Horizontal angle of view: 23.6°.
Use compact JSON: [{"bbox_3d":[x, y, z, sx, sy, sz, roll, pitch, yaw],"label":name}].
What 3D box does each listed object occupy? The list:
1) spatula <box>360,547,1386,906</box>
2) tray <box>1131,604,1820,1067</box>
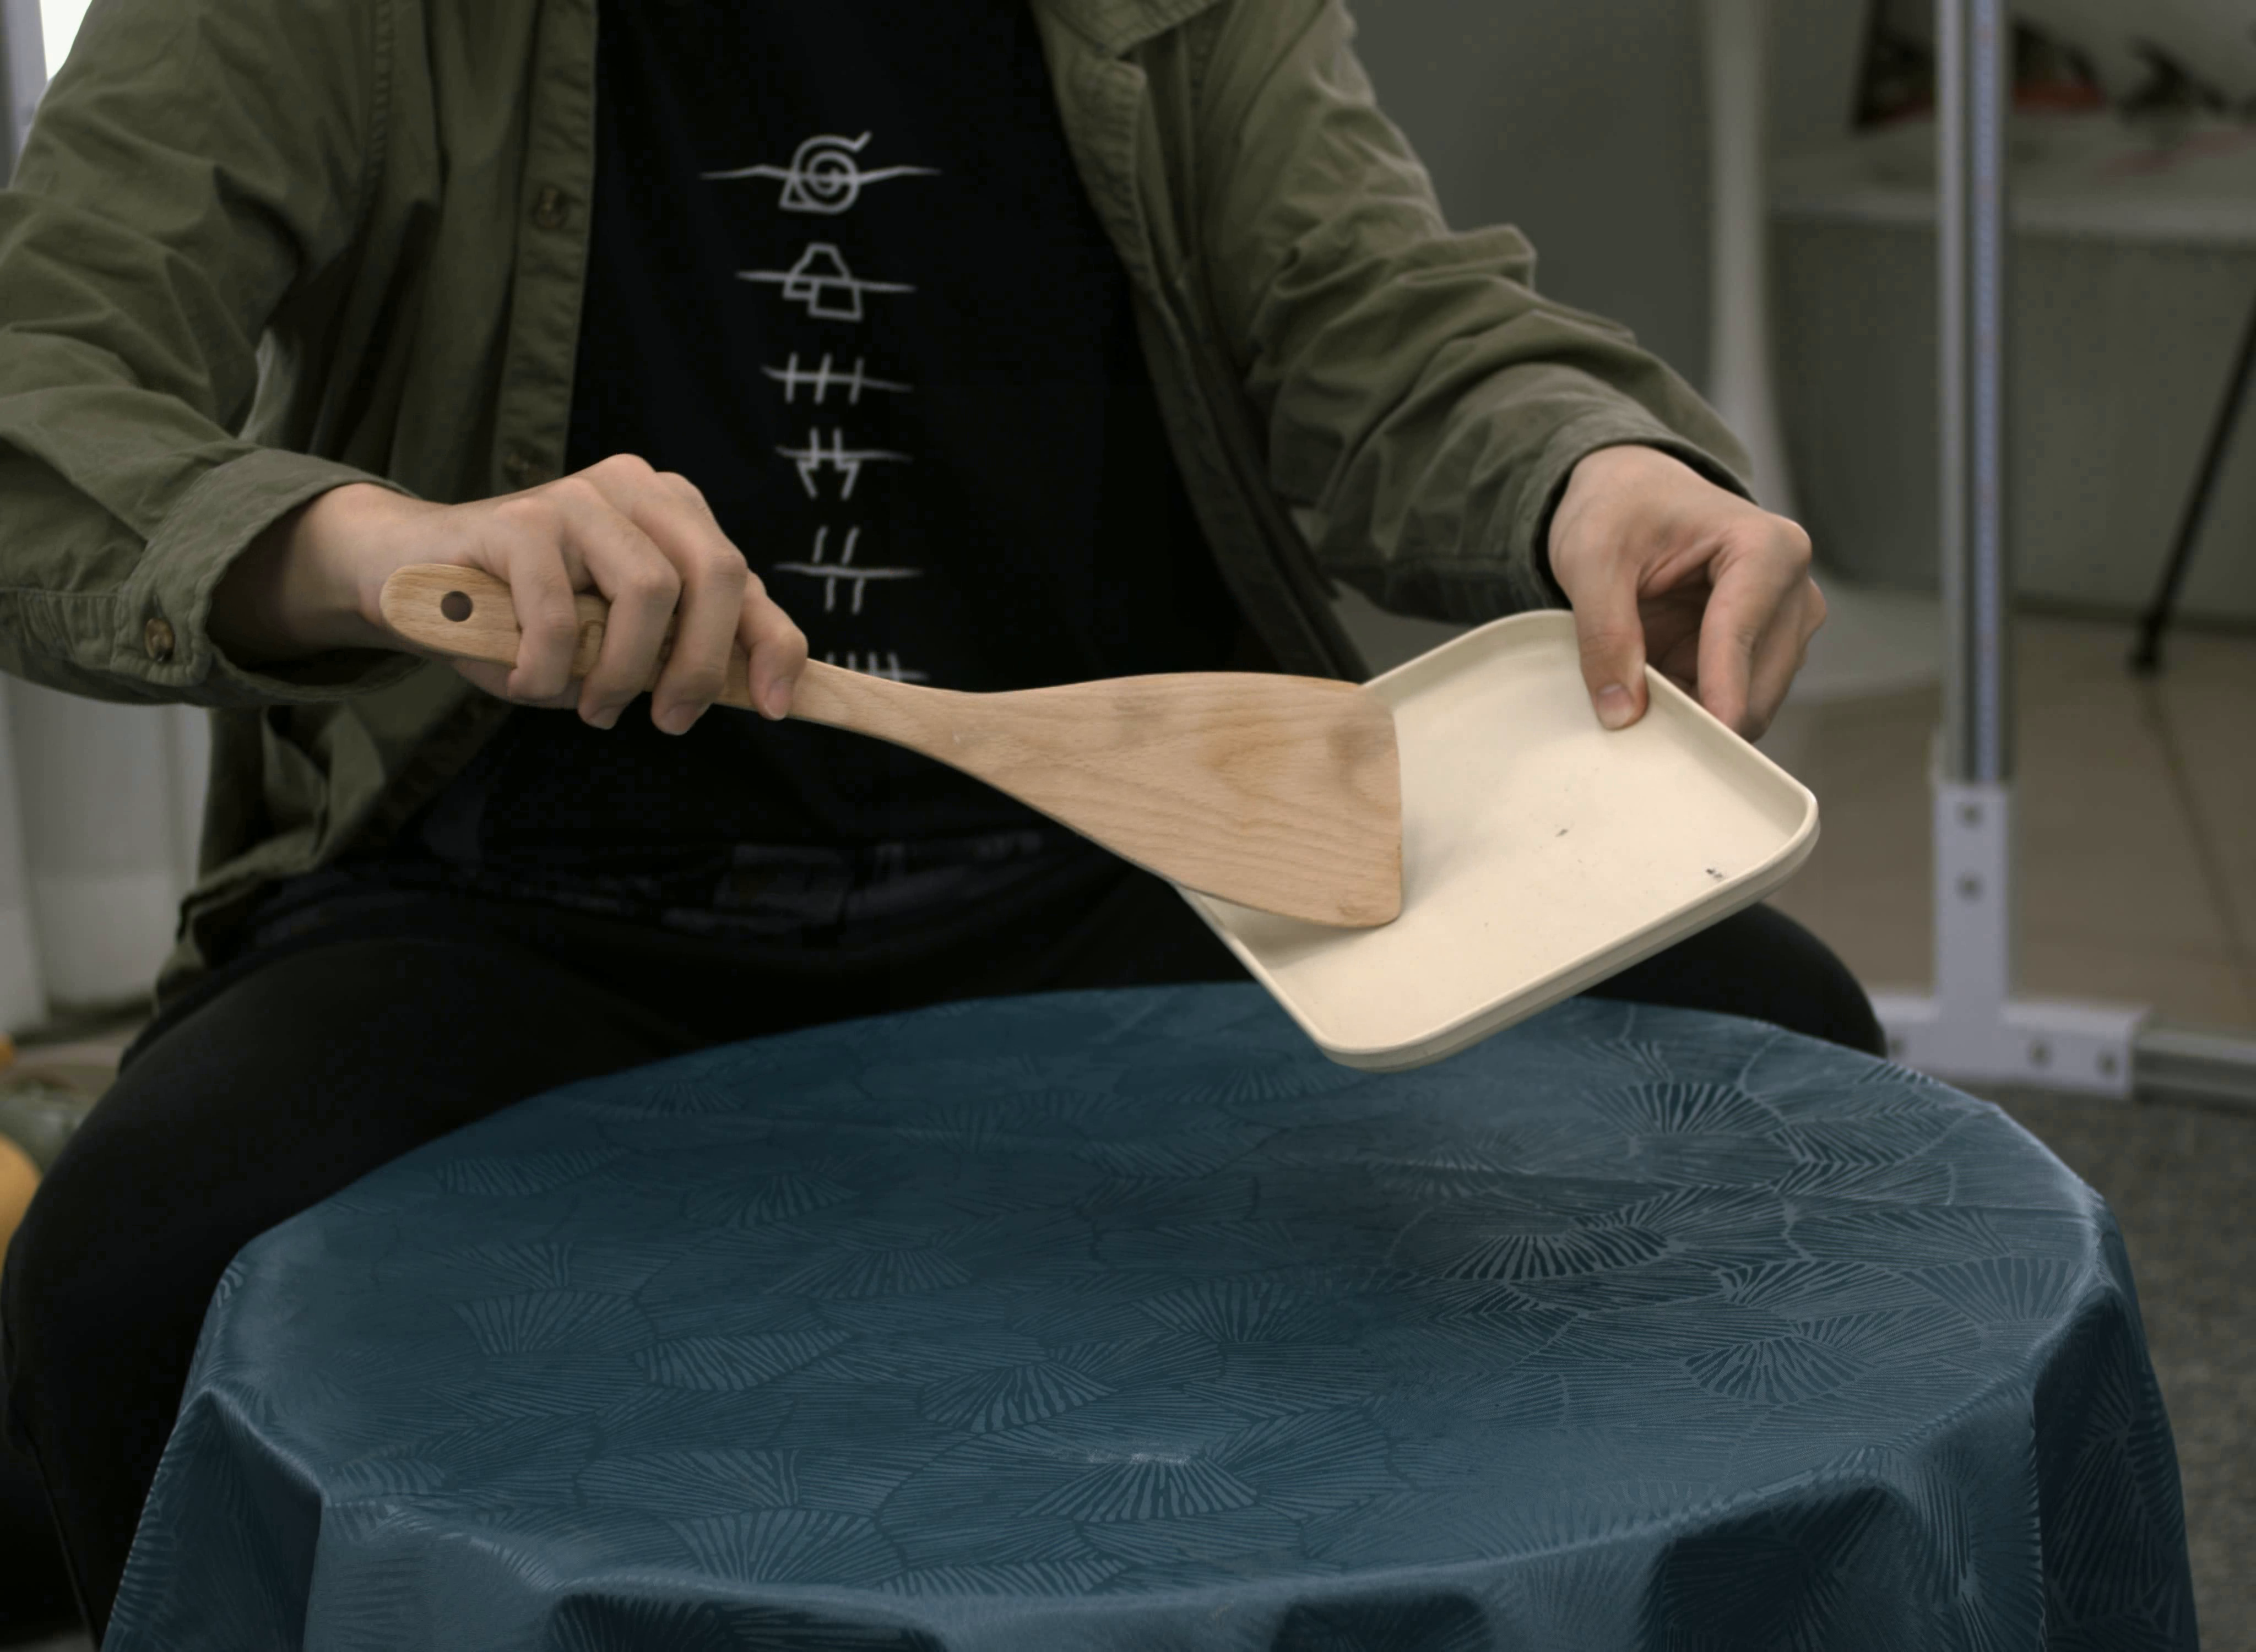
[{"bbox_3d":[-0.074,-0.043,1.652,0.322,0.081,0.016,12,-17,-9],"label":"spatula"},{"bbox_3d":[0.105,0.001,1.678,0.169,0.017,0.242,-27,24,-7],"label":"tray"}]
